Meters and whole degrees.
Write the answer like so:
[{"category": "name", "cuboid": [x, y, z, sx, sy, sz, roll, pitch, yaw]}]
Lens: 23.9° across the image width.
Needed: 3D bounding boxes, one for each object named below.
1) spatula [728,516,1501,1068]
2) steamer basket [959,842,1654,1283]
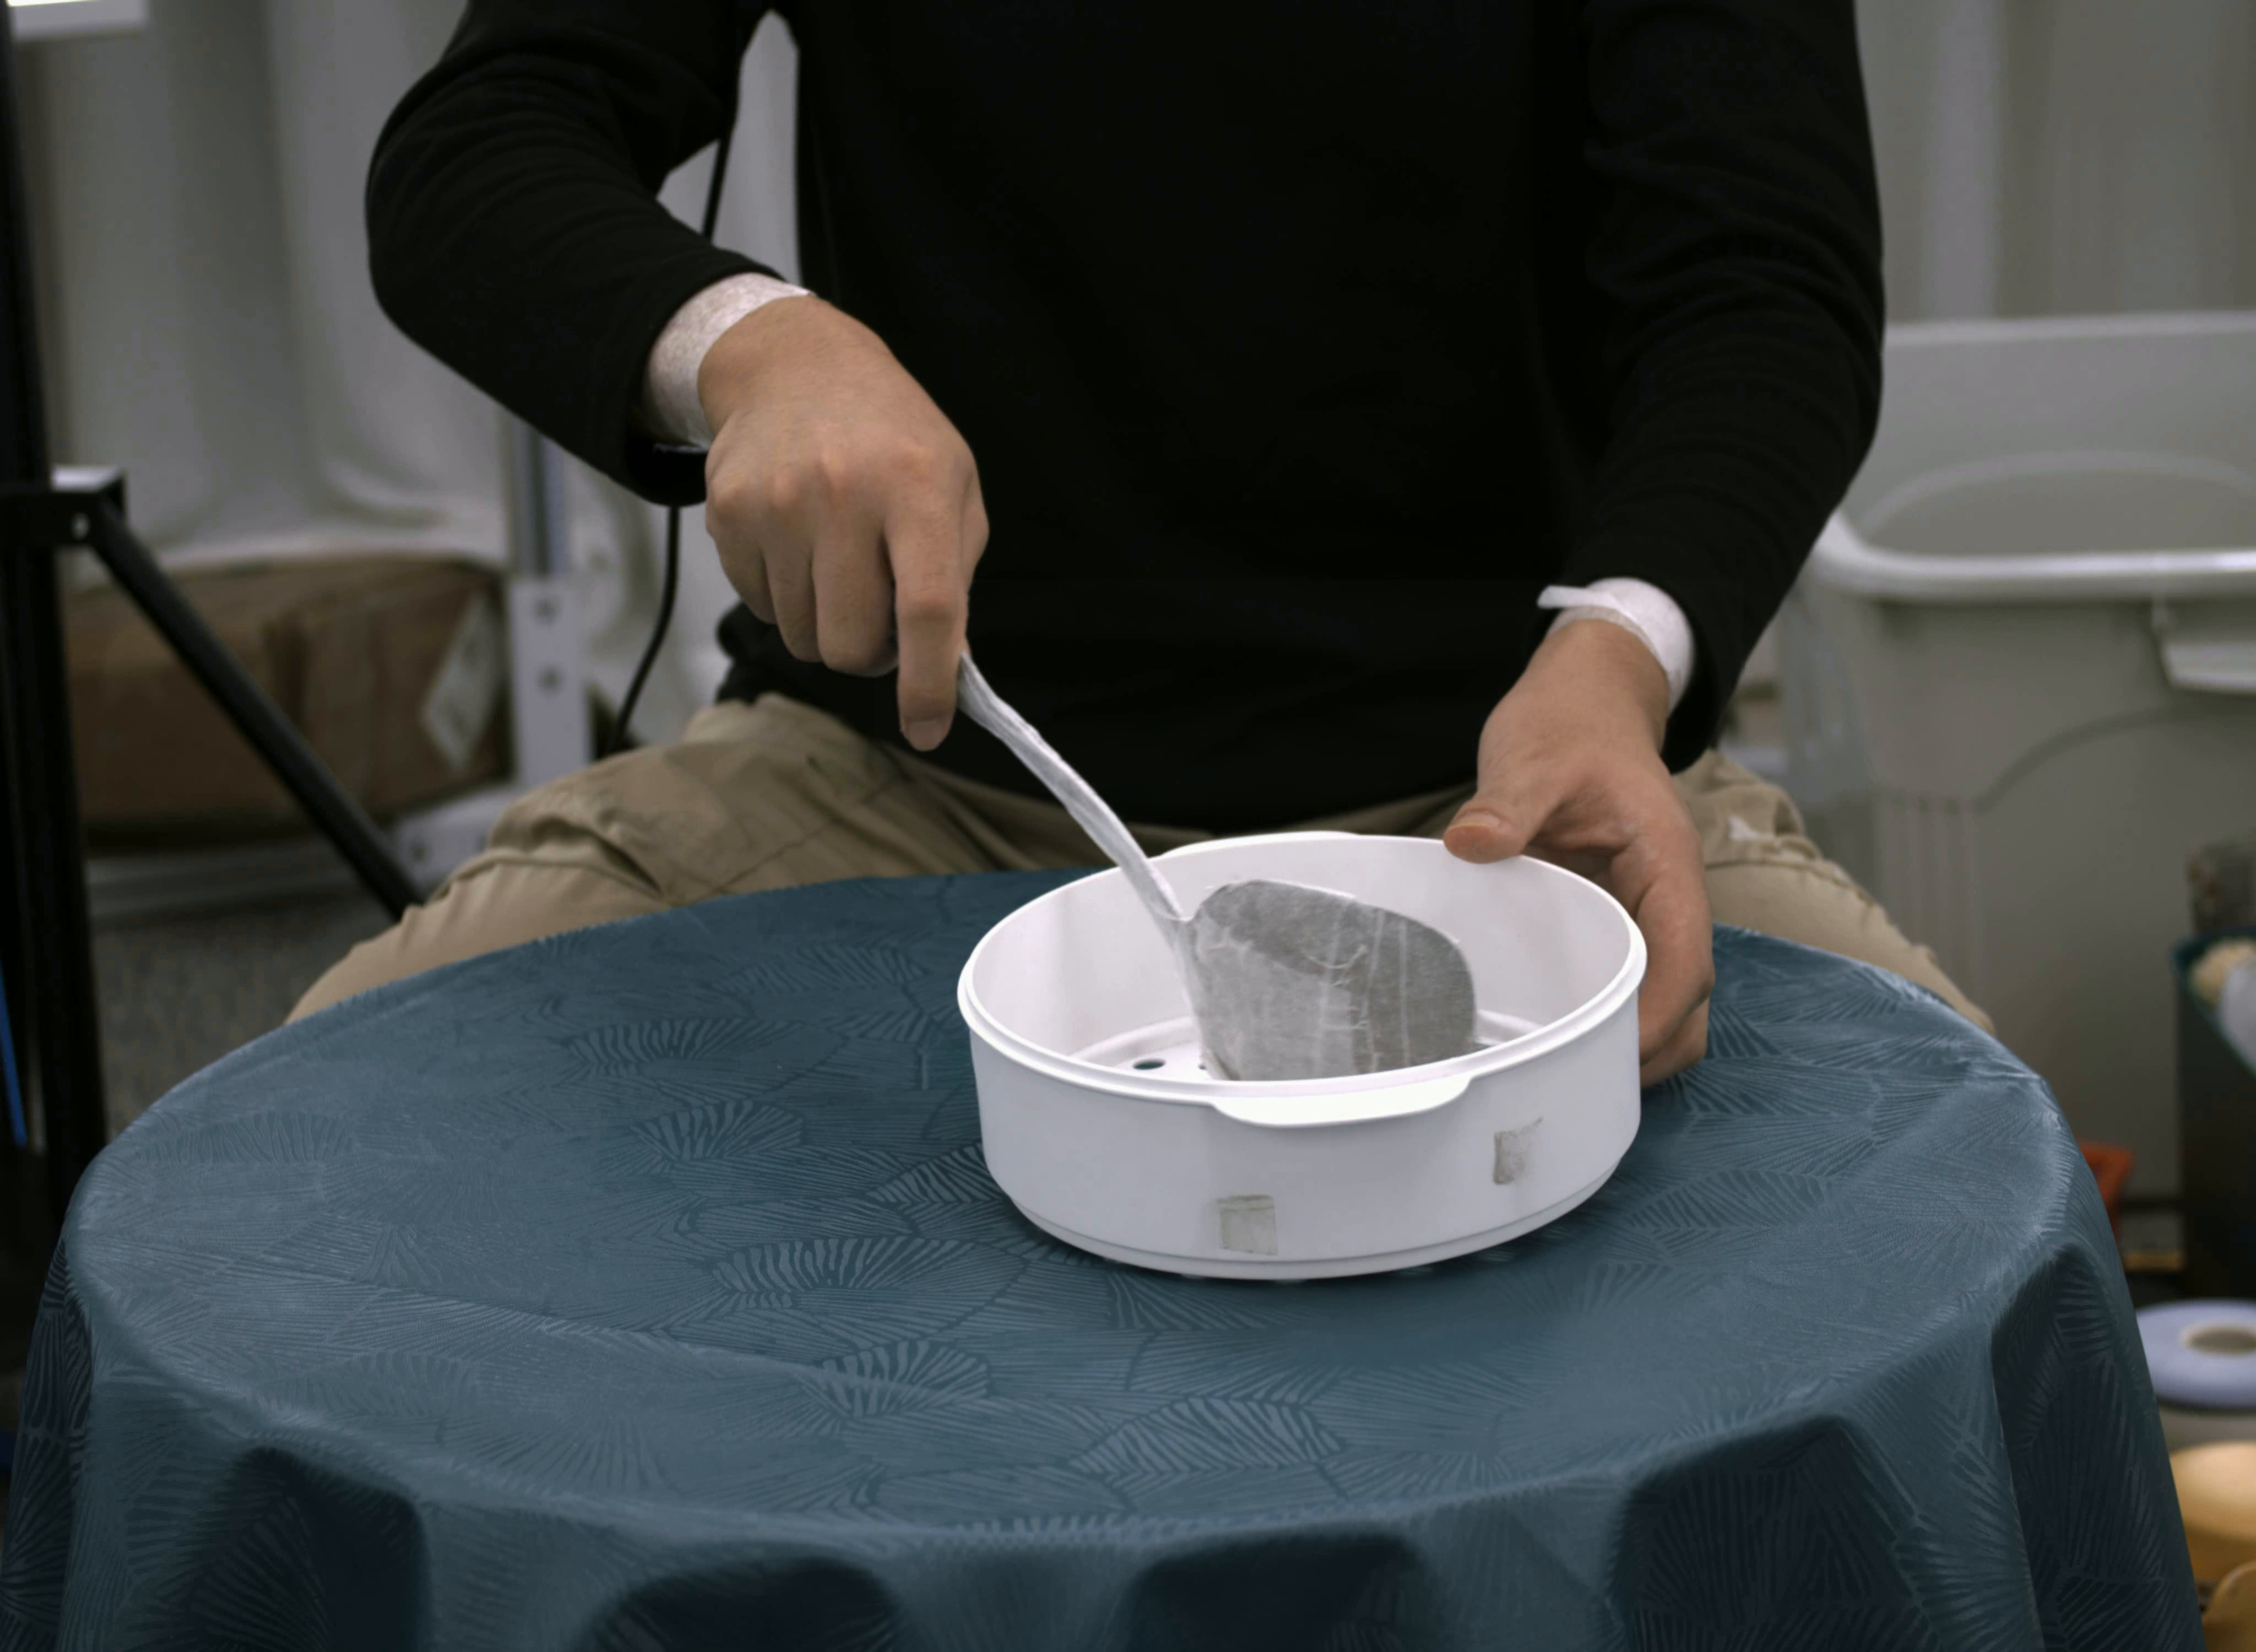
[{"category": "spatula", "cuboid": [-0.012, -0.011, 1.592, 0.044, 0.098, 0.373, -20, 42, -25]}, {"category": "steamer basket", "cuboid": [0.053, 0.069, 1.545, 0.200, 0.069, 0.232, -4, 19, -2]}]
